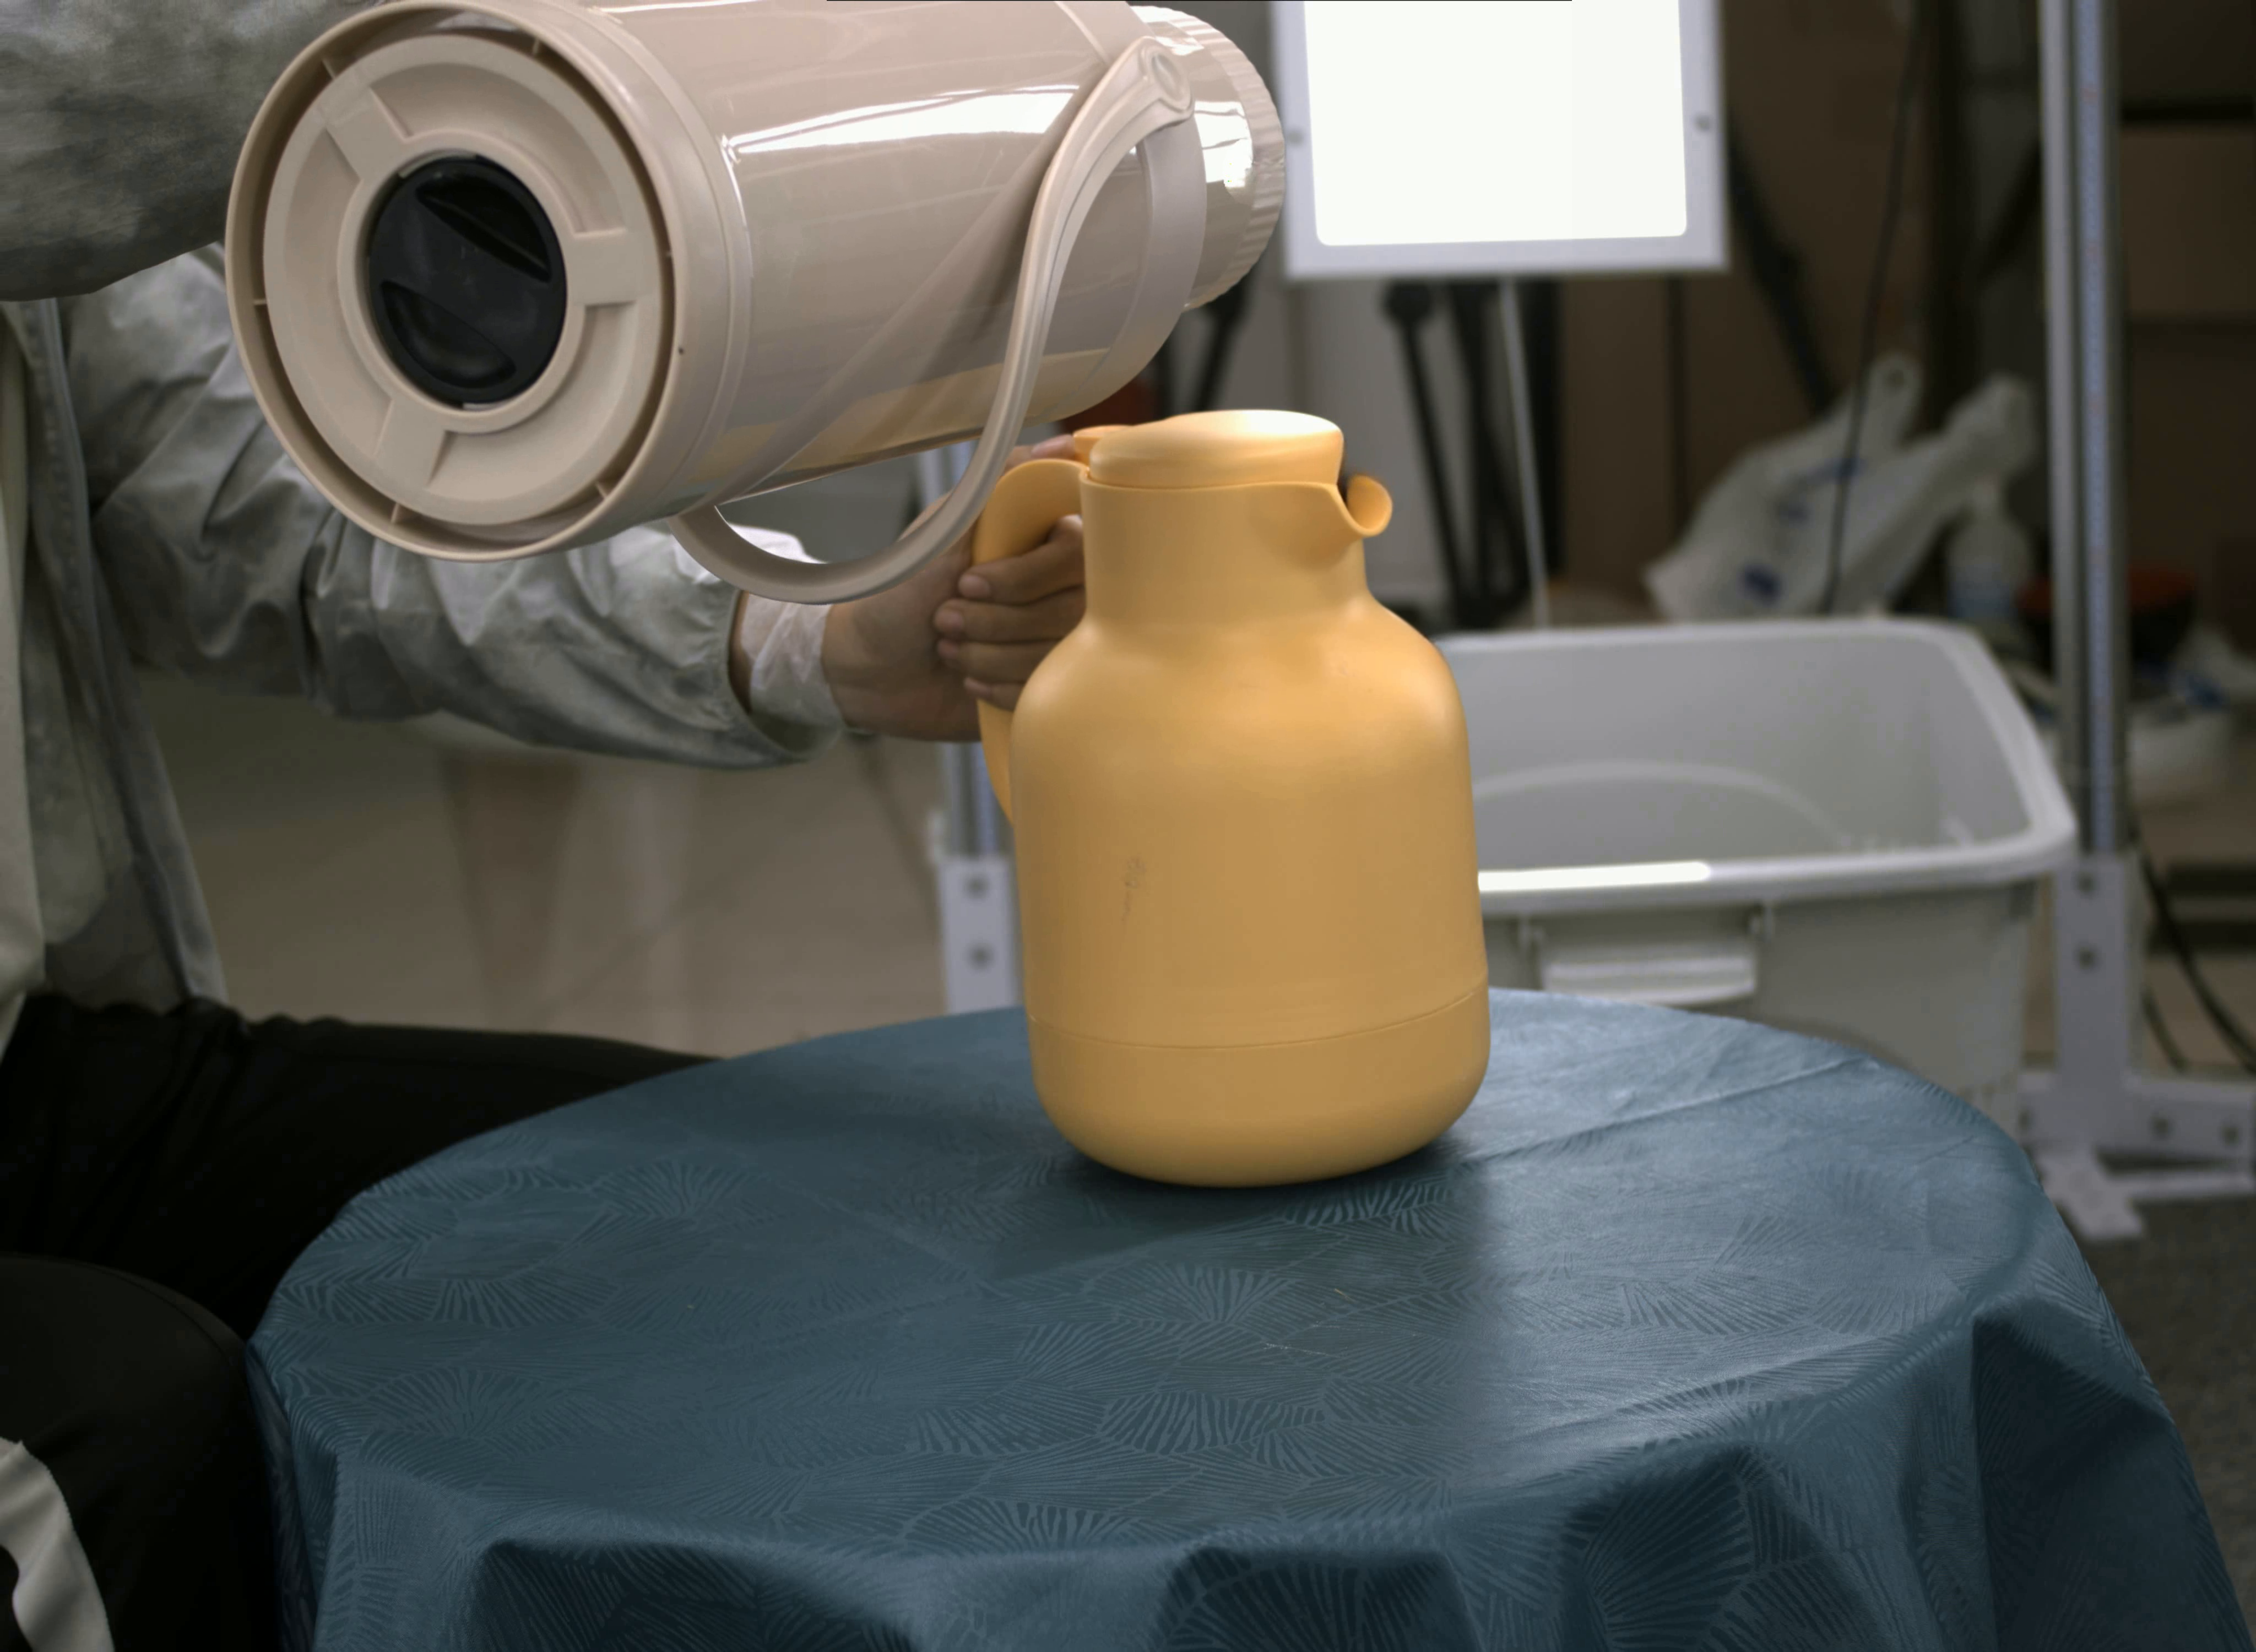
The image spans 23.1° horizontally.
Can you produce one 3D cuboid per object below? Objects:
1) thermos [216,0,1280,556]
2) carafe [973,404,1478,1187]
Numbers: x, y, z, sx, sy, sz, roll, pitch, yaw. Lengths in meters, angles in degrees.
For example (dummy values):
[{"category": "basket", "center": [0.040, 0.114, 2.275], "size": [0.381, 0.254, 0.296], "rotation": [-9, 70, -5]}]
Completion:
[{"category": "thermos", "center": [-0.100, -0.202, 1.696], "size": [0.179, 0.207, 0.397], "rotation": [-26, -3, 34]}, {"category": "carafe", "center": [0.026, -0.017, 1.924], "size": [0.159, 0.261, 0.206], "rotation": [-13, 17, -39]}]
